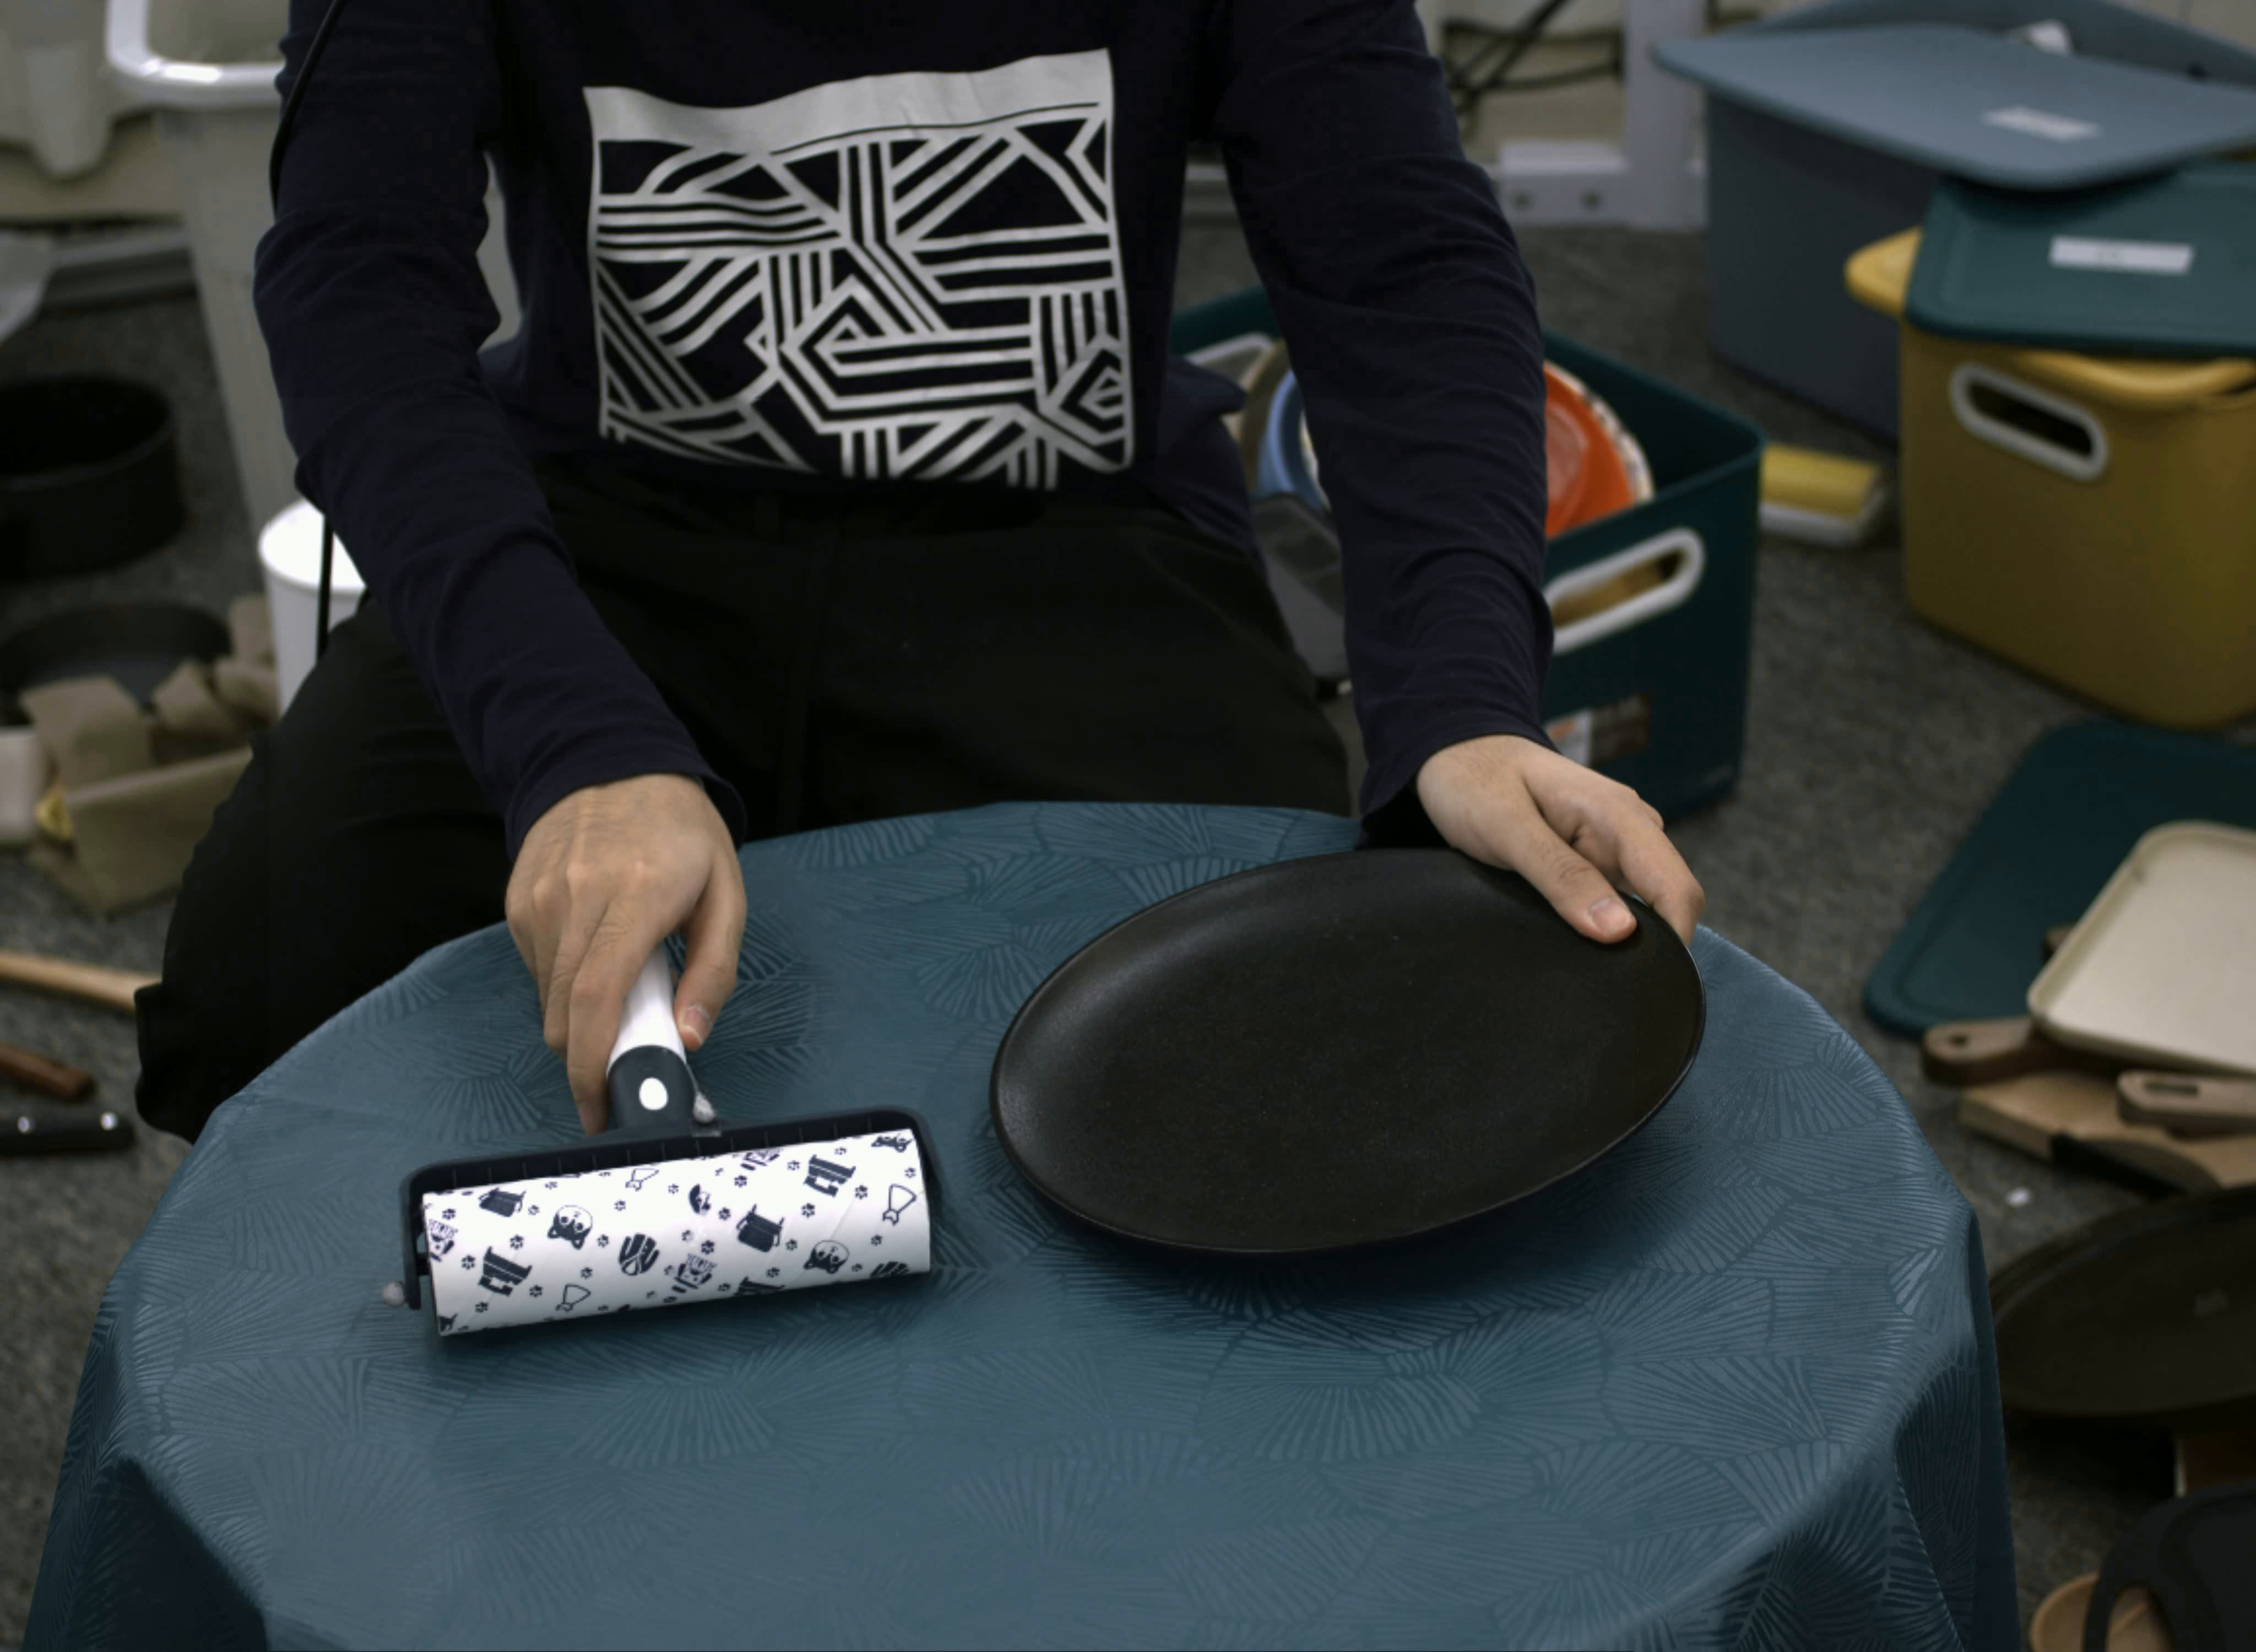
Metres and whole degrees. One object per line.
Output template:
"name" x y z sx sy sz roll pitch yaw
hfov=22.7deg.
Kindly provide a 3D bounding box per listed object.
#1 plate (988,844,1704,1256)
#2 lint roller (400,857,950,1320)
"plate" 0.073 0.079 1.890 0.243 0.023 0.248 -8 30 5
"lint roller" -0.163 0.075 1.891 0.176 0.050 0.250 -7 32 -8
